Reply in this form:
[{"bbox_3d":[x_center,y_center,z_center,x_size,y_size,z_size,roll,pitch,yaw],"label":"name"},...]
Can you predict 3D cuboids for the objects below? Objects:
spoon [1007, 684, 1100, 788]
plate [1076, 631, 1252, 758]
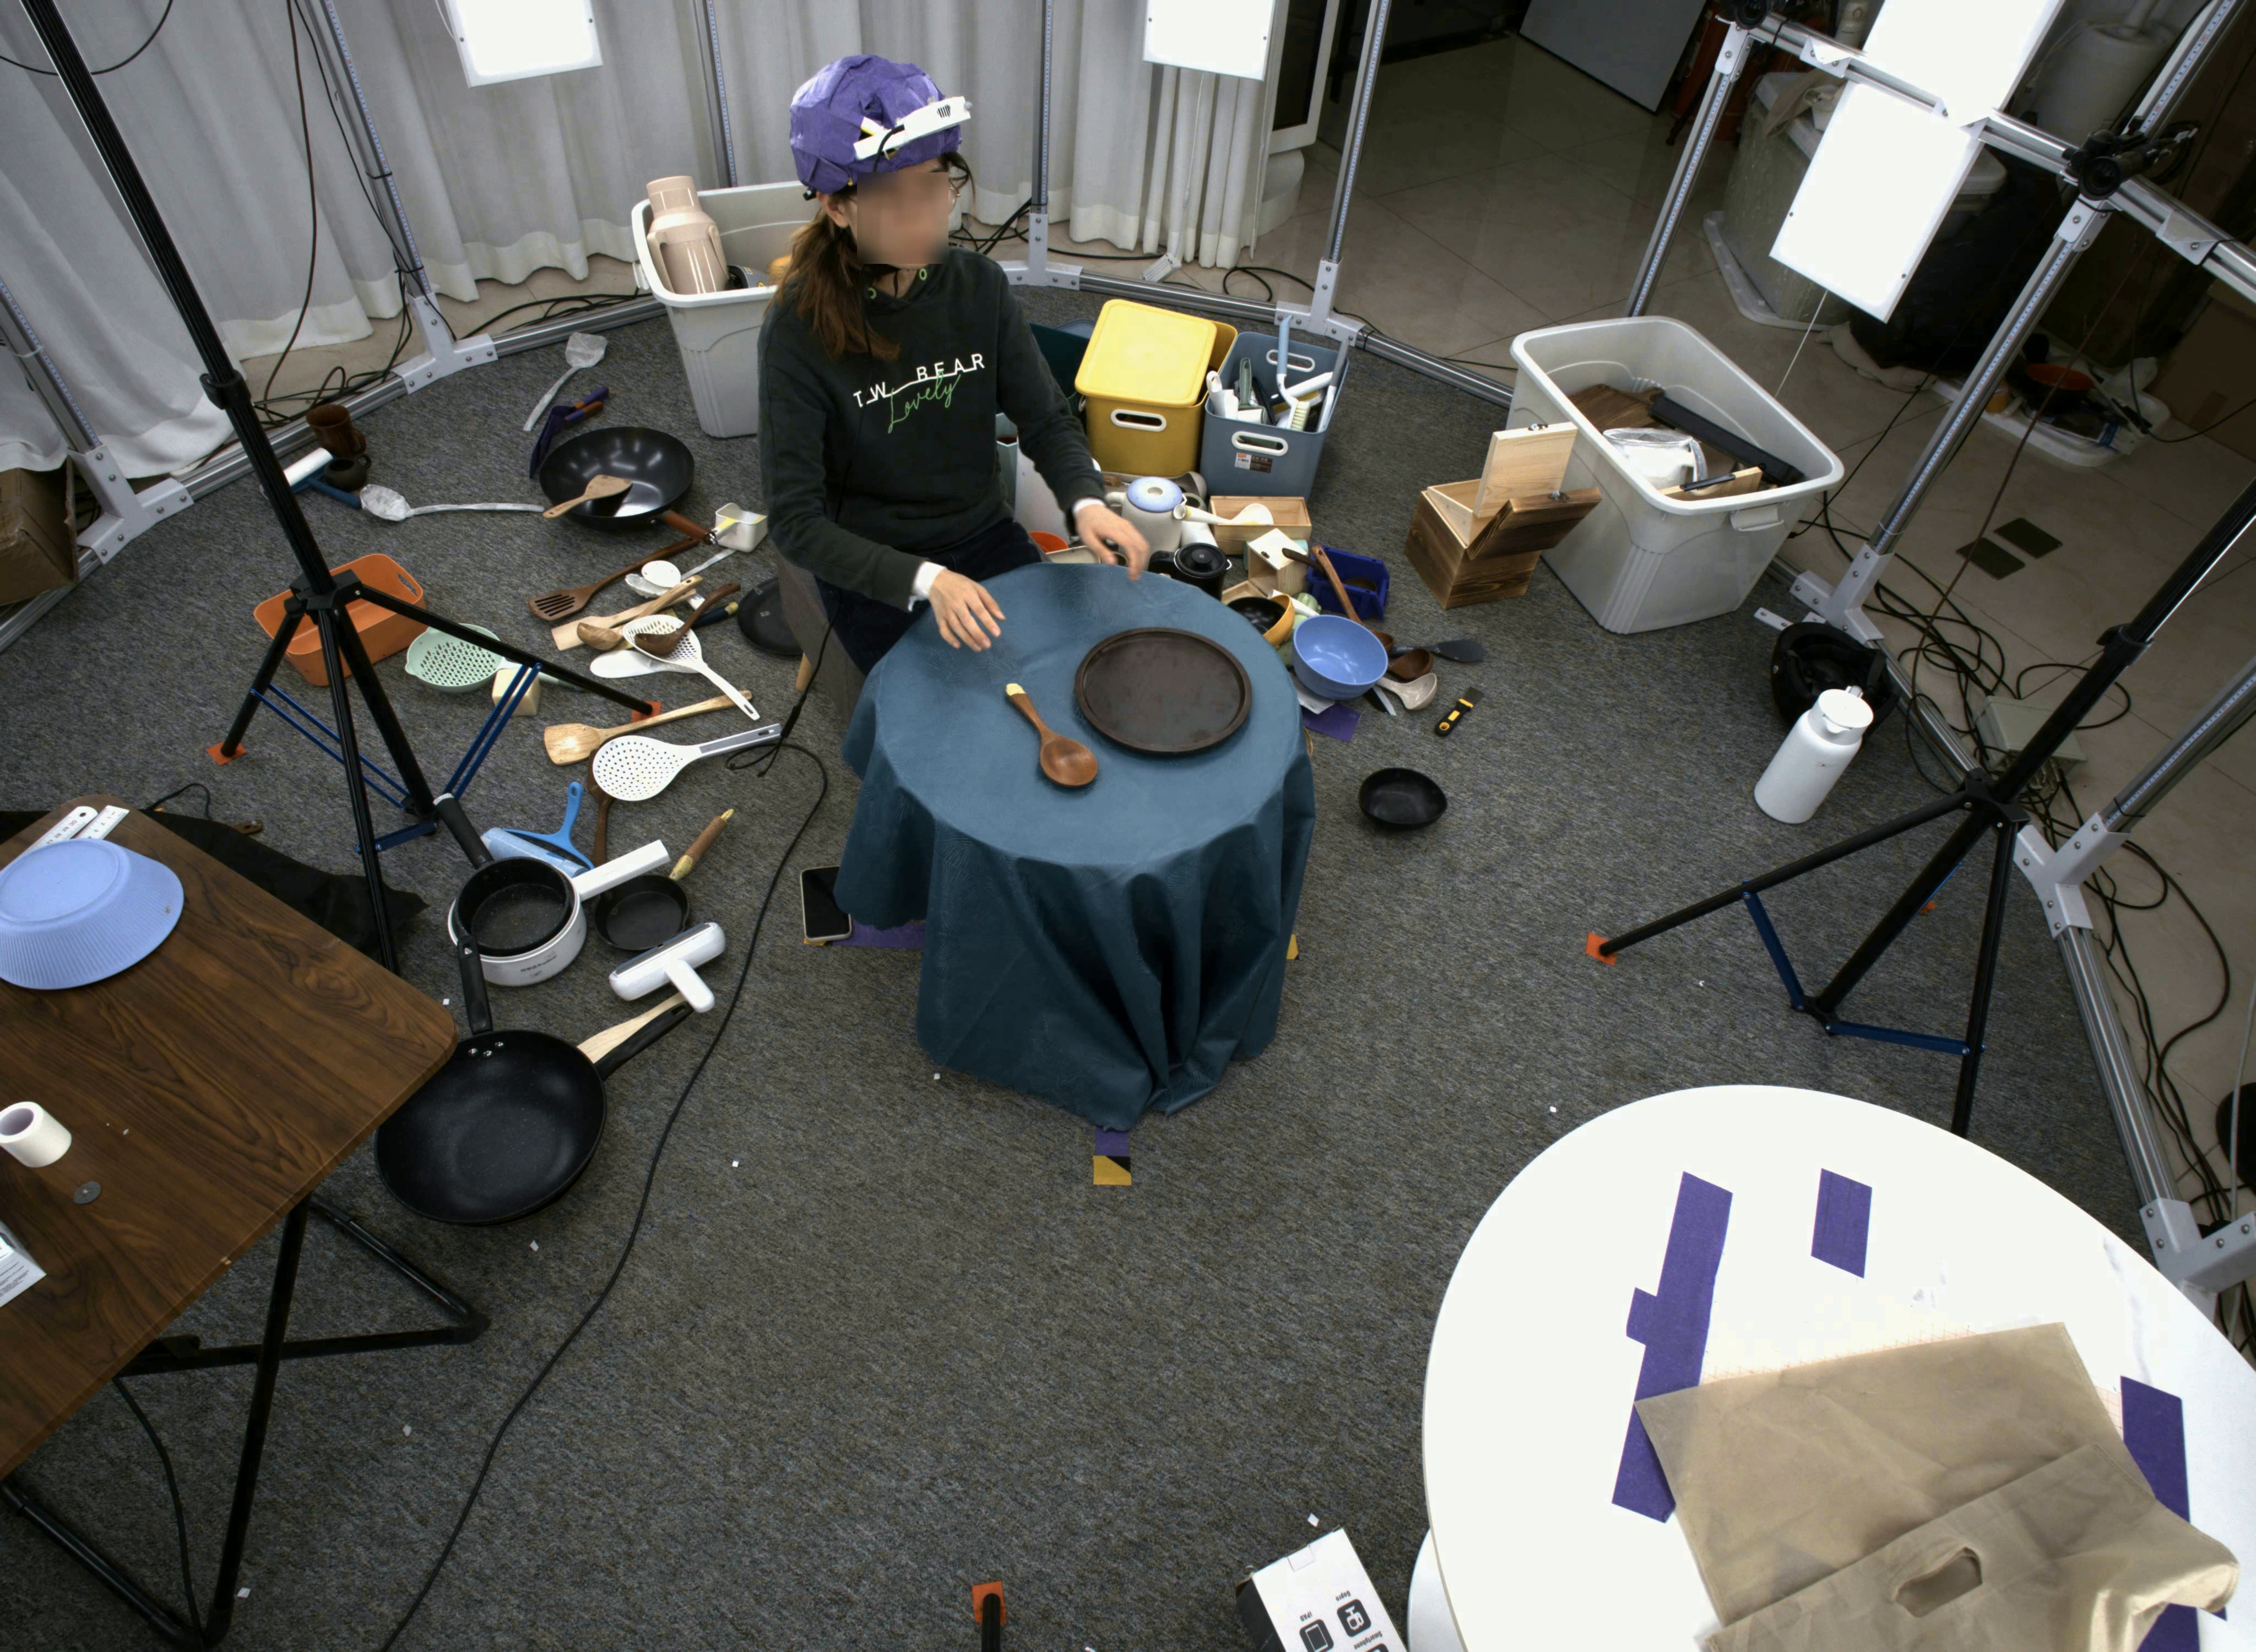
[{"bbox_3d":[-0.111,-0.126,1.775,0.076,0.017,0.220,-22,54,-21],"label":"spoon"},{"bbox_3d":[0.052,-0.190,1.840,0.254,0.028,0.261,2,49,-3],"label":"plate"}]
